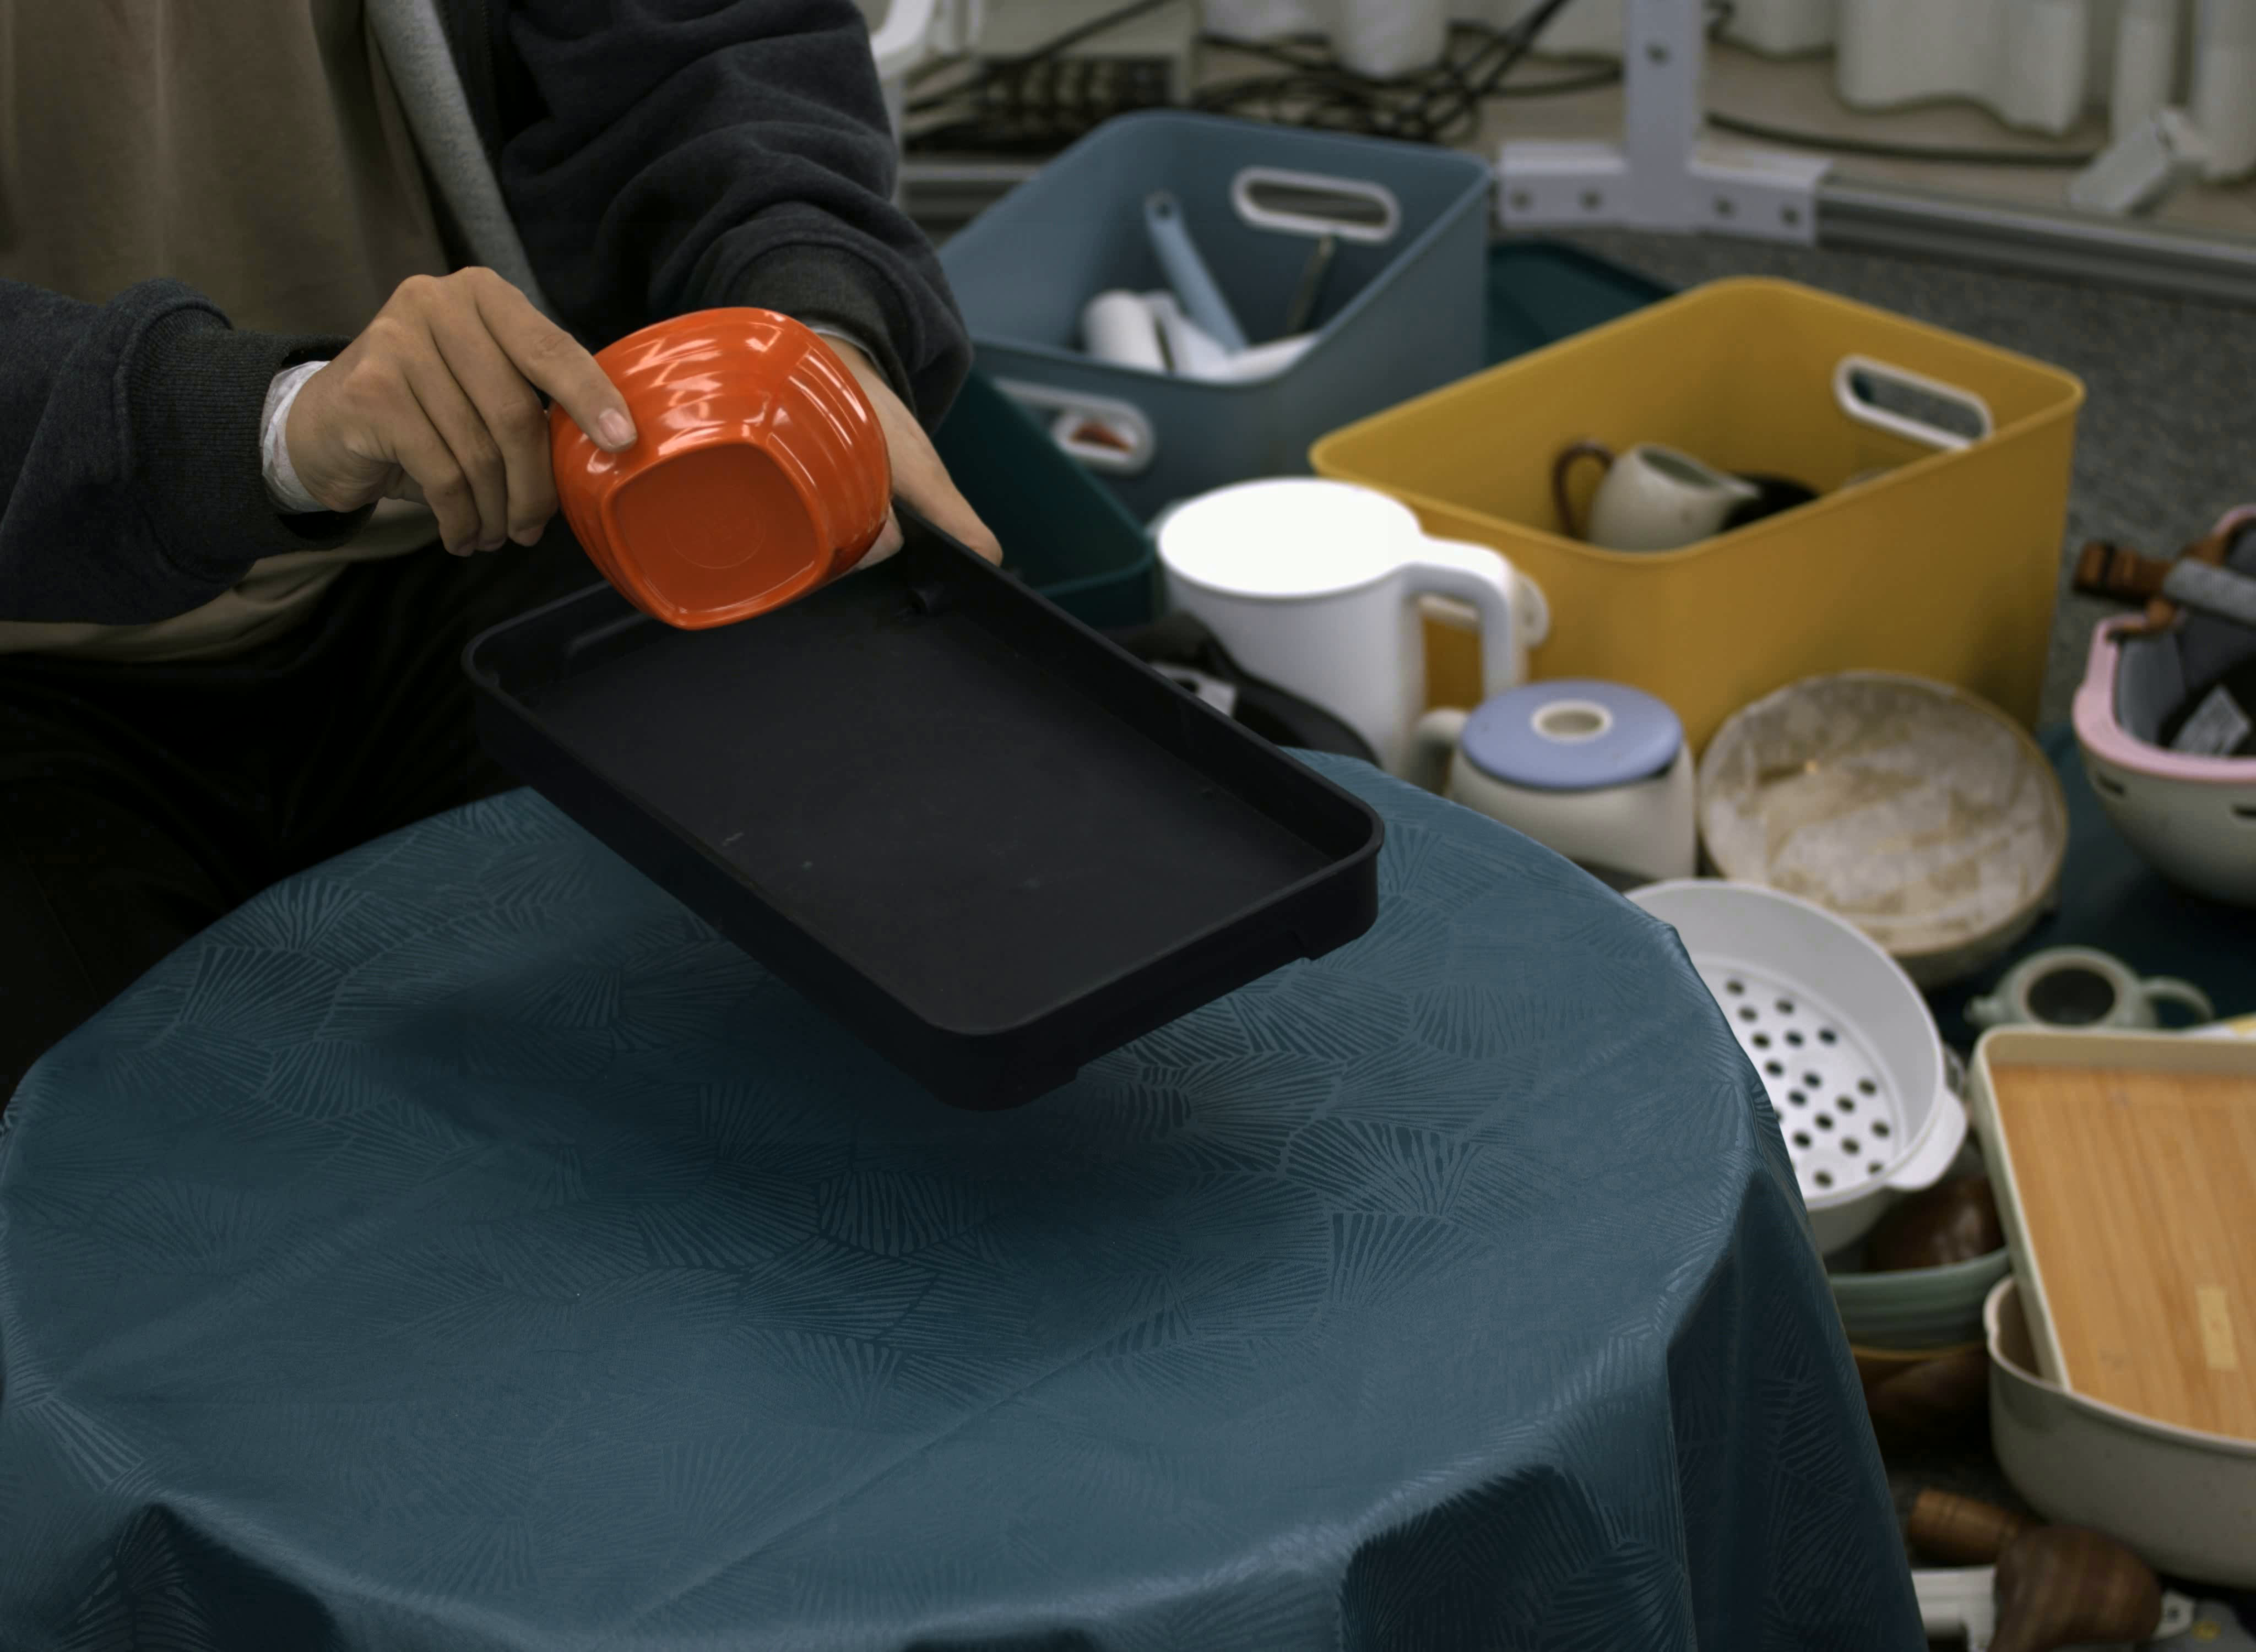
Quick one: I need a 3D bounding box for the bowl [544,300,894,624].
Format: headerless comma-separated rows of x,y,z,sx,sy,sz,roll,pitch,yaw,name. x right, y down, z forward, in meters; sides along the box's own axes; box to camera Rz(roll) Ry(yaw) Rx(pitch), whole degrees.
-0.134,-0.109,1.844,0.118,0.117,0.052,-3,35,0,bowl

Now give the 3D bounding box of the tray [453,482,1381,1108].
-0.075,-0.019,1.916,0.186,0.036,0.319,-24,40,-30,tray
